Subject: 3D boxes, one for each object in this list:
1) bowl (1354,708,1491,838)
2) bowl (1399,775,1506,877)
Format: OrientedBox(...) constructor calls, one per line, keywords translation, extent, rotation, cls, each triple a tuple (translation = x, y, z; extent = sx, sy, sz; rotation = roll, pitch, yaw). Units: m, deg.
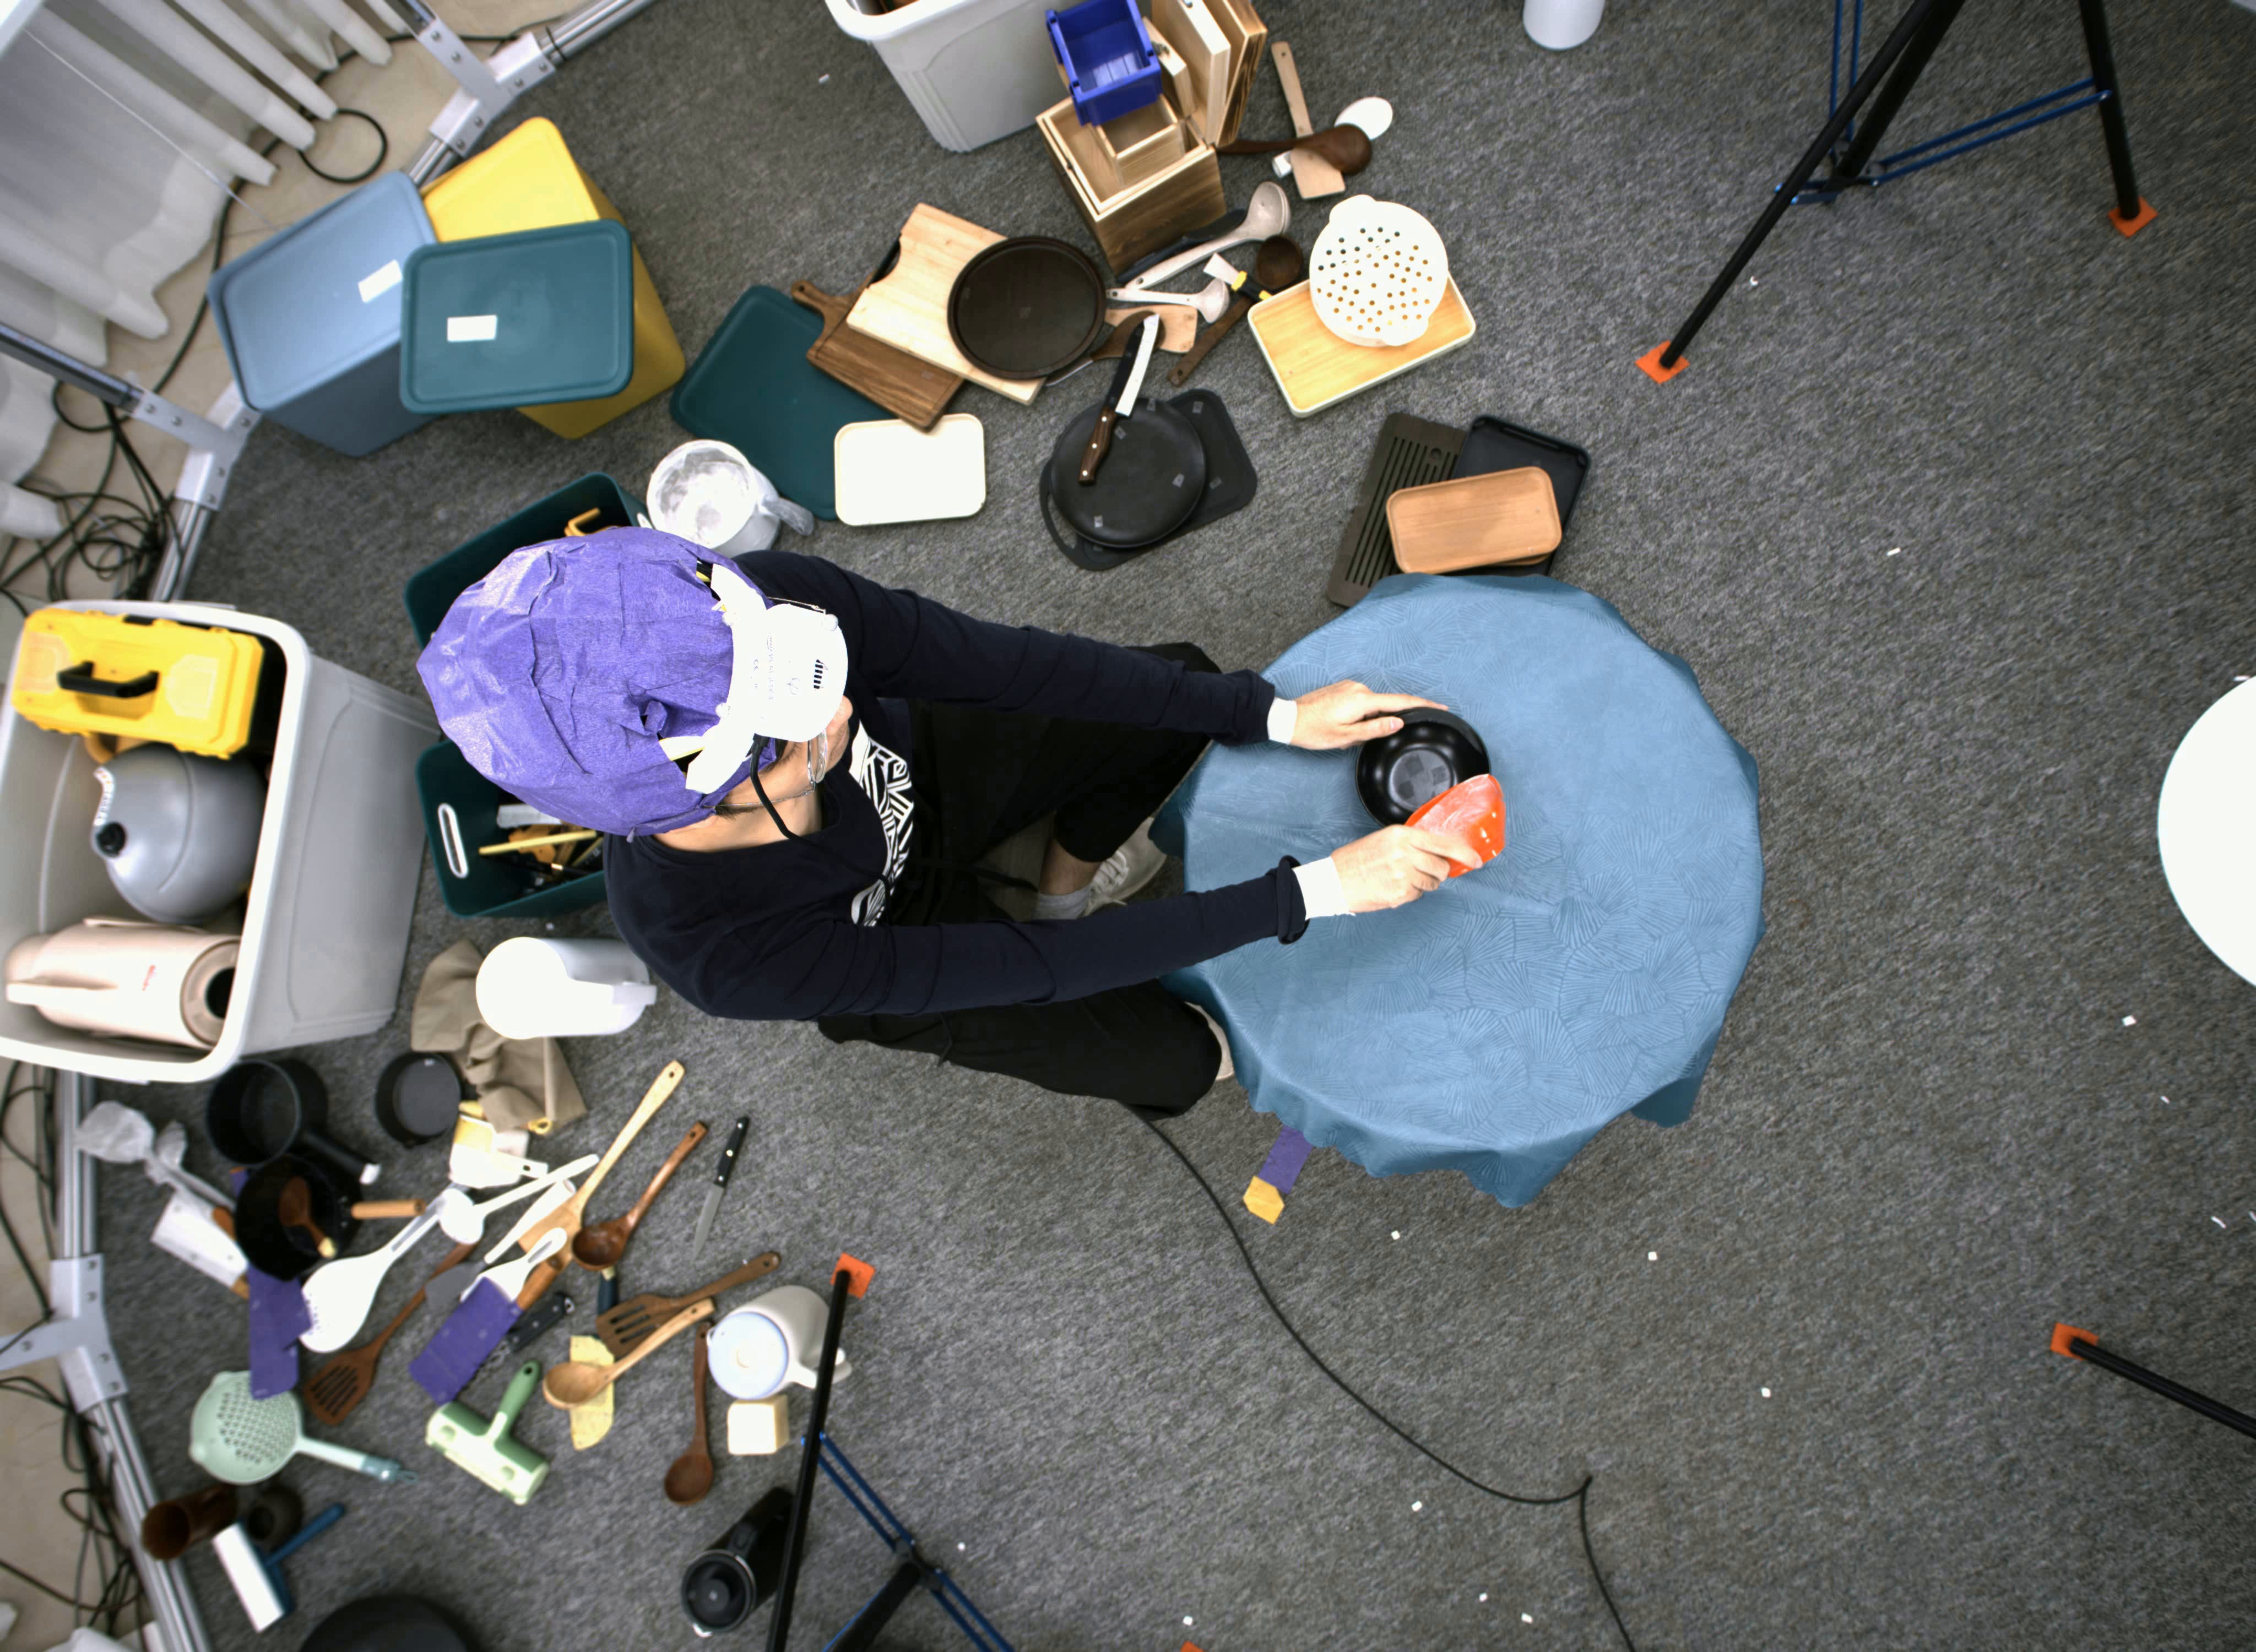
OrientedBox(translation=(0.308, -0.053, 1.438), extent=(0.141, 0.050, 0.139), rotation=(-1, 86, 15), cls="bowl")
OrientedBox(translation=(0.322, 0.005, 1.333), extent=(0.119, 0.117, 0.052), rotation=(-35, 109, 6), cls="bowl")
